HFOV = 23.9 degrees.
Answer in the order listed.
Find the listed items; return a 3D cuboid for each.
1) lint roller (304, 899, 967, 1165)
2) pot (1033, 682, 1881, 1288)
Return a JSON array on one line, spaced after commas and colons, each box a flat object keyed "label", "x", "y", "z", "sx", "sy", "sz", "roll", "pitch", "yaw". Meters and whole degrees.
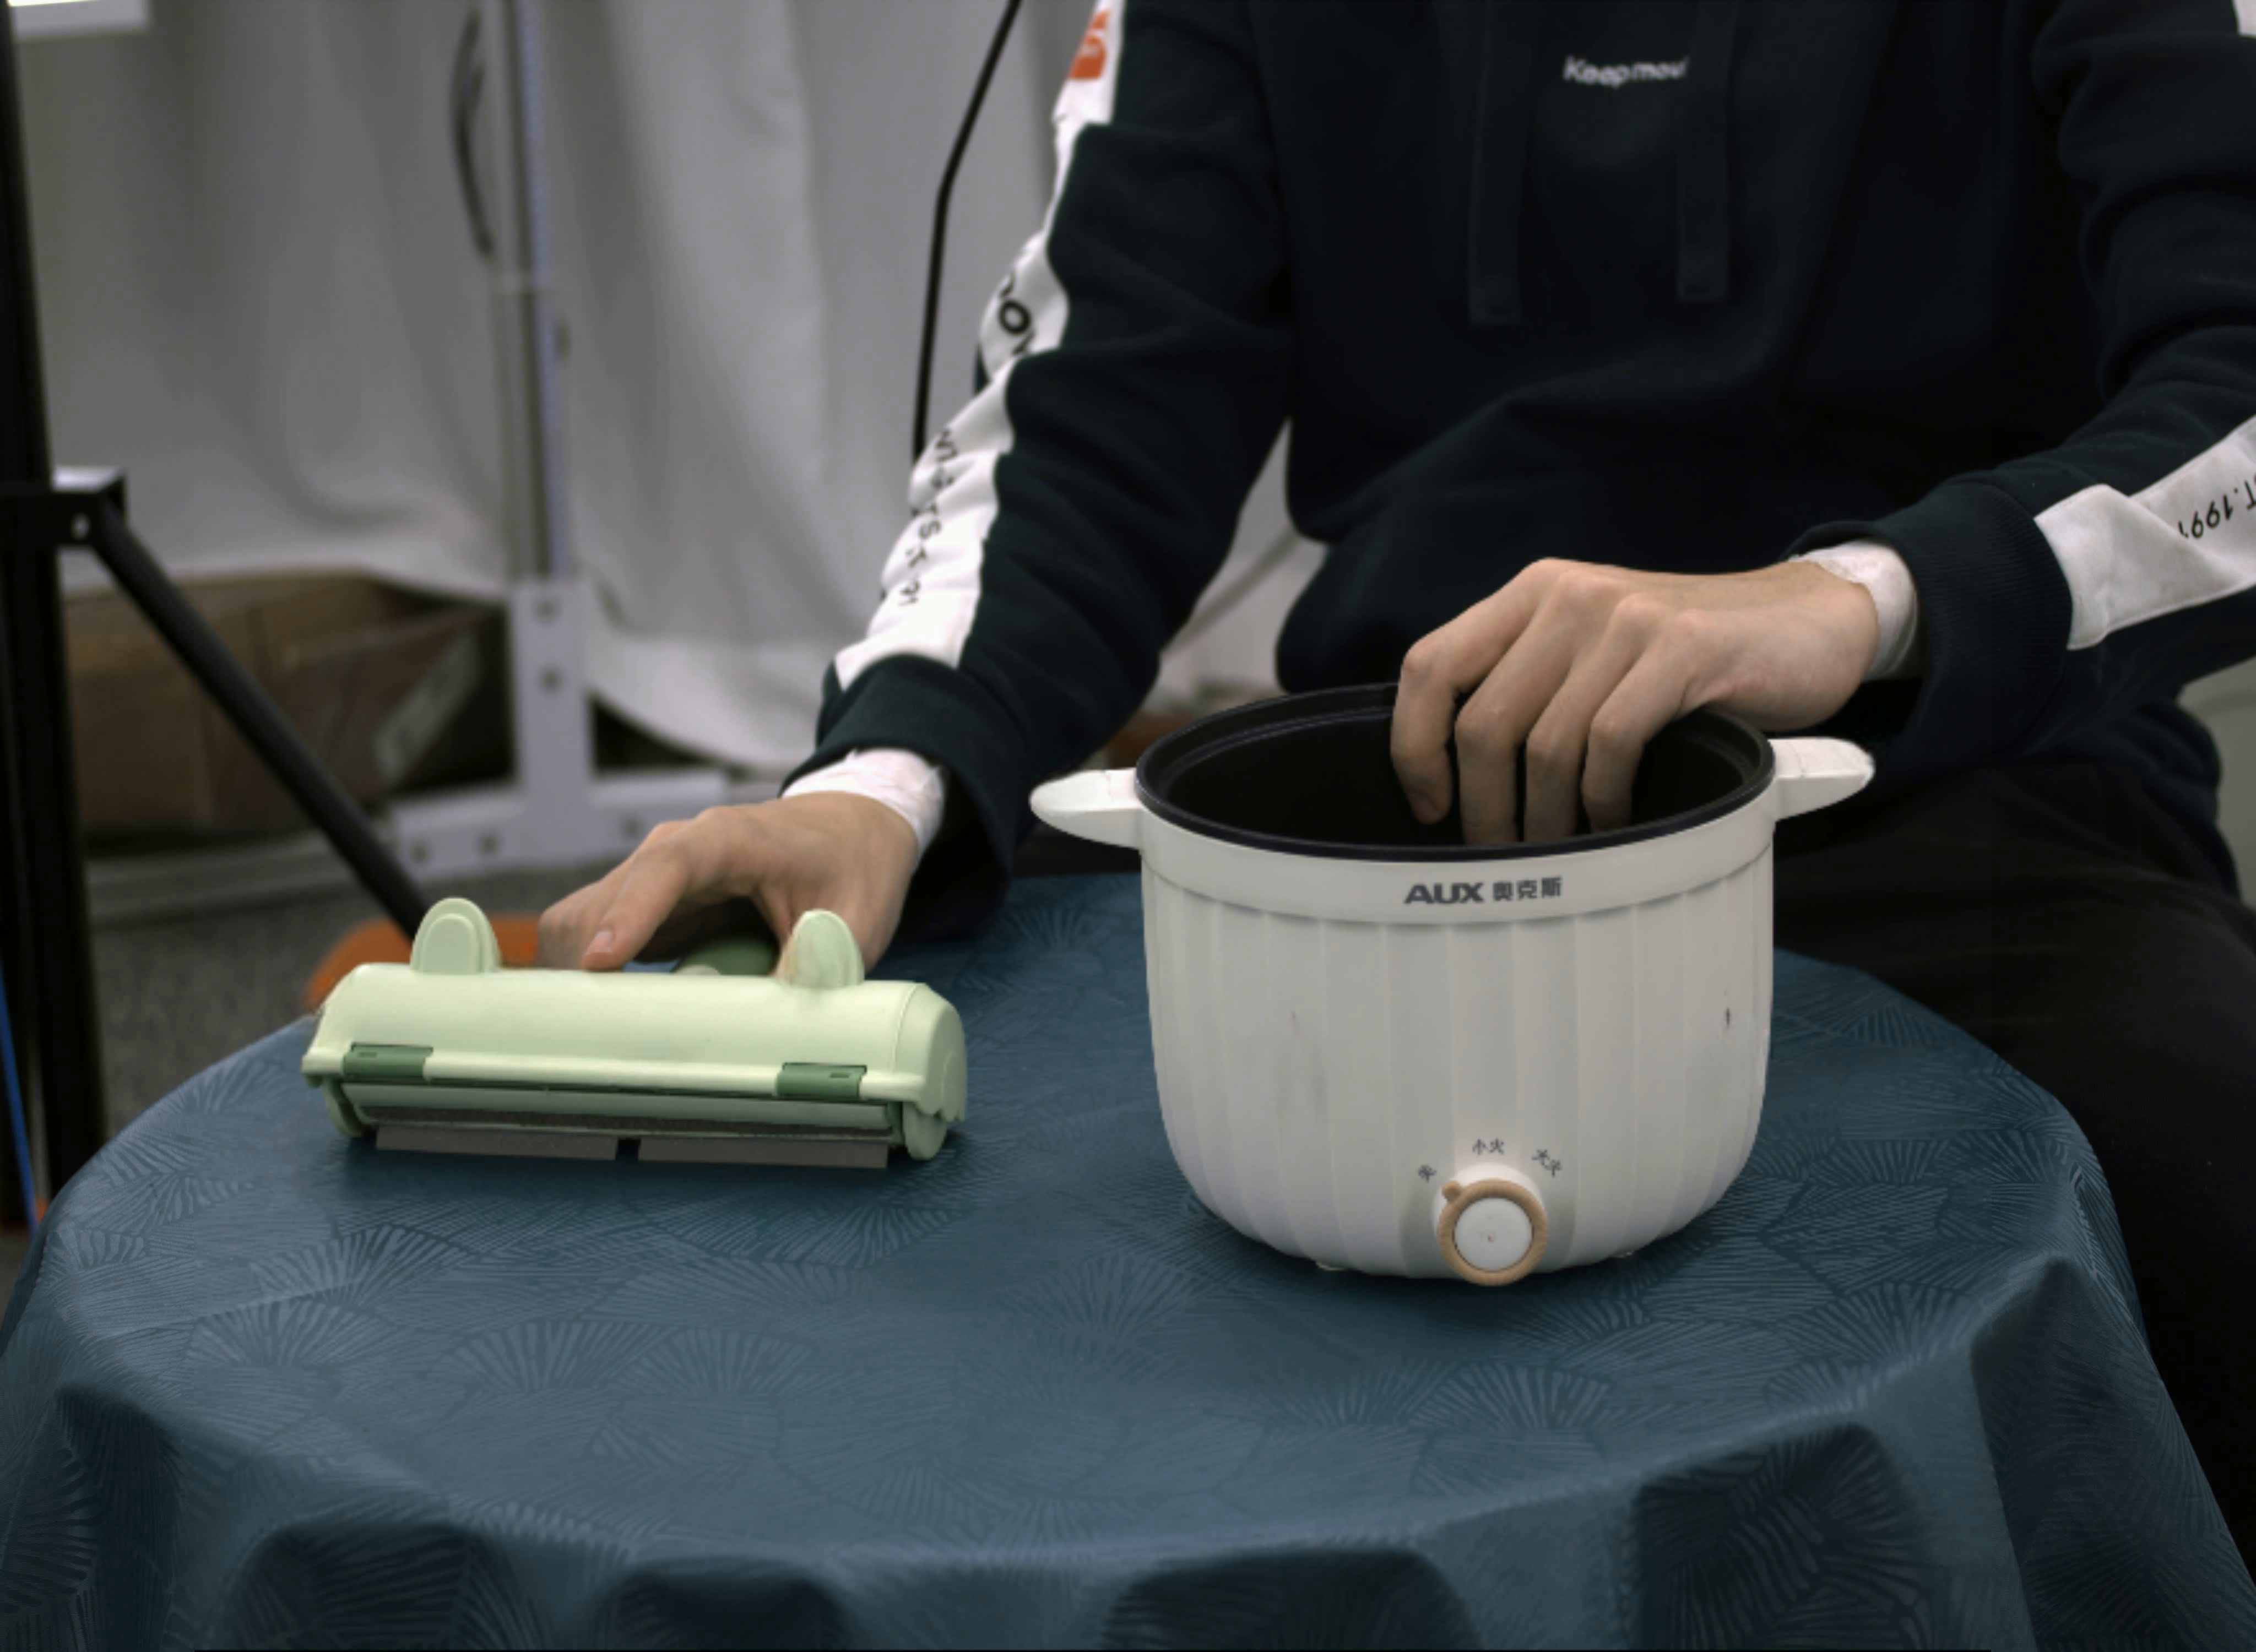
[{"label": "lint roller", "x": -0.137, "y": 0.045, "z": 1.664, "sx": 0.200, "sy": 0.082, "sz": 0.182, "roll": 1, "pitch": 22, "yaw": 15}, {"label": "pot", "x": 0.097, "y": 0.047, "z": 1.504, "sx": 0.239, "sy": 0.143, "sz": 0.191, "roll": -4, "pitch": 12, "yaw": 0}]
